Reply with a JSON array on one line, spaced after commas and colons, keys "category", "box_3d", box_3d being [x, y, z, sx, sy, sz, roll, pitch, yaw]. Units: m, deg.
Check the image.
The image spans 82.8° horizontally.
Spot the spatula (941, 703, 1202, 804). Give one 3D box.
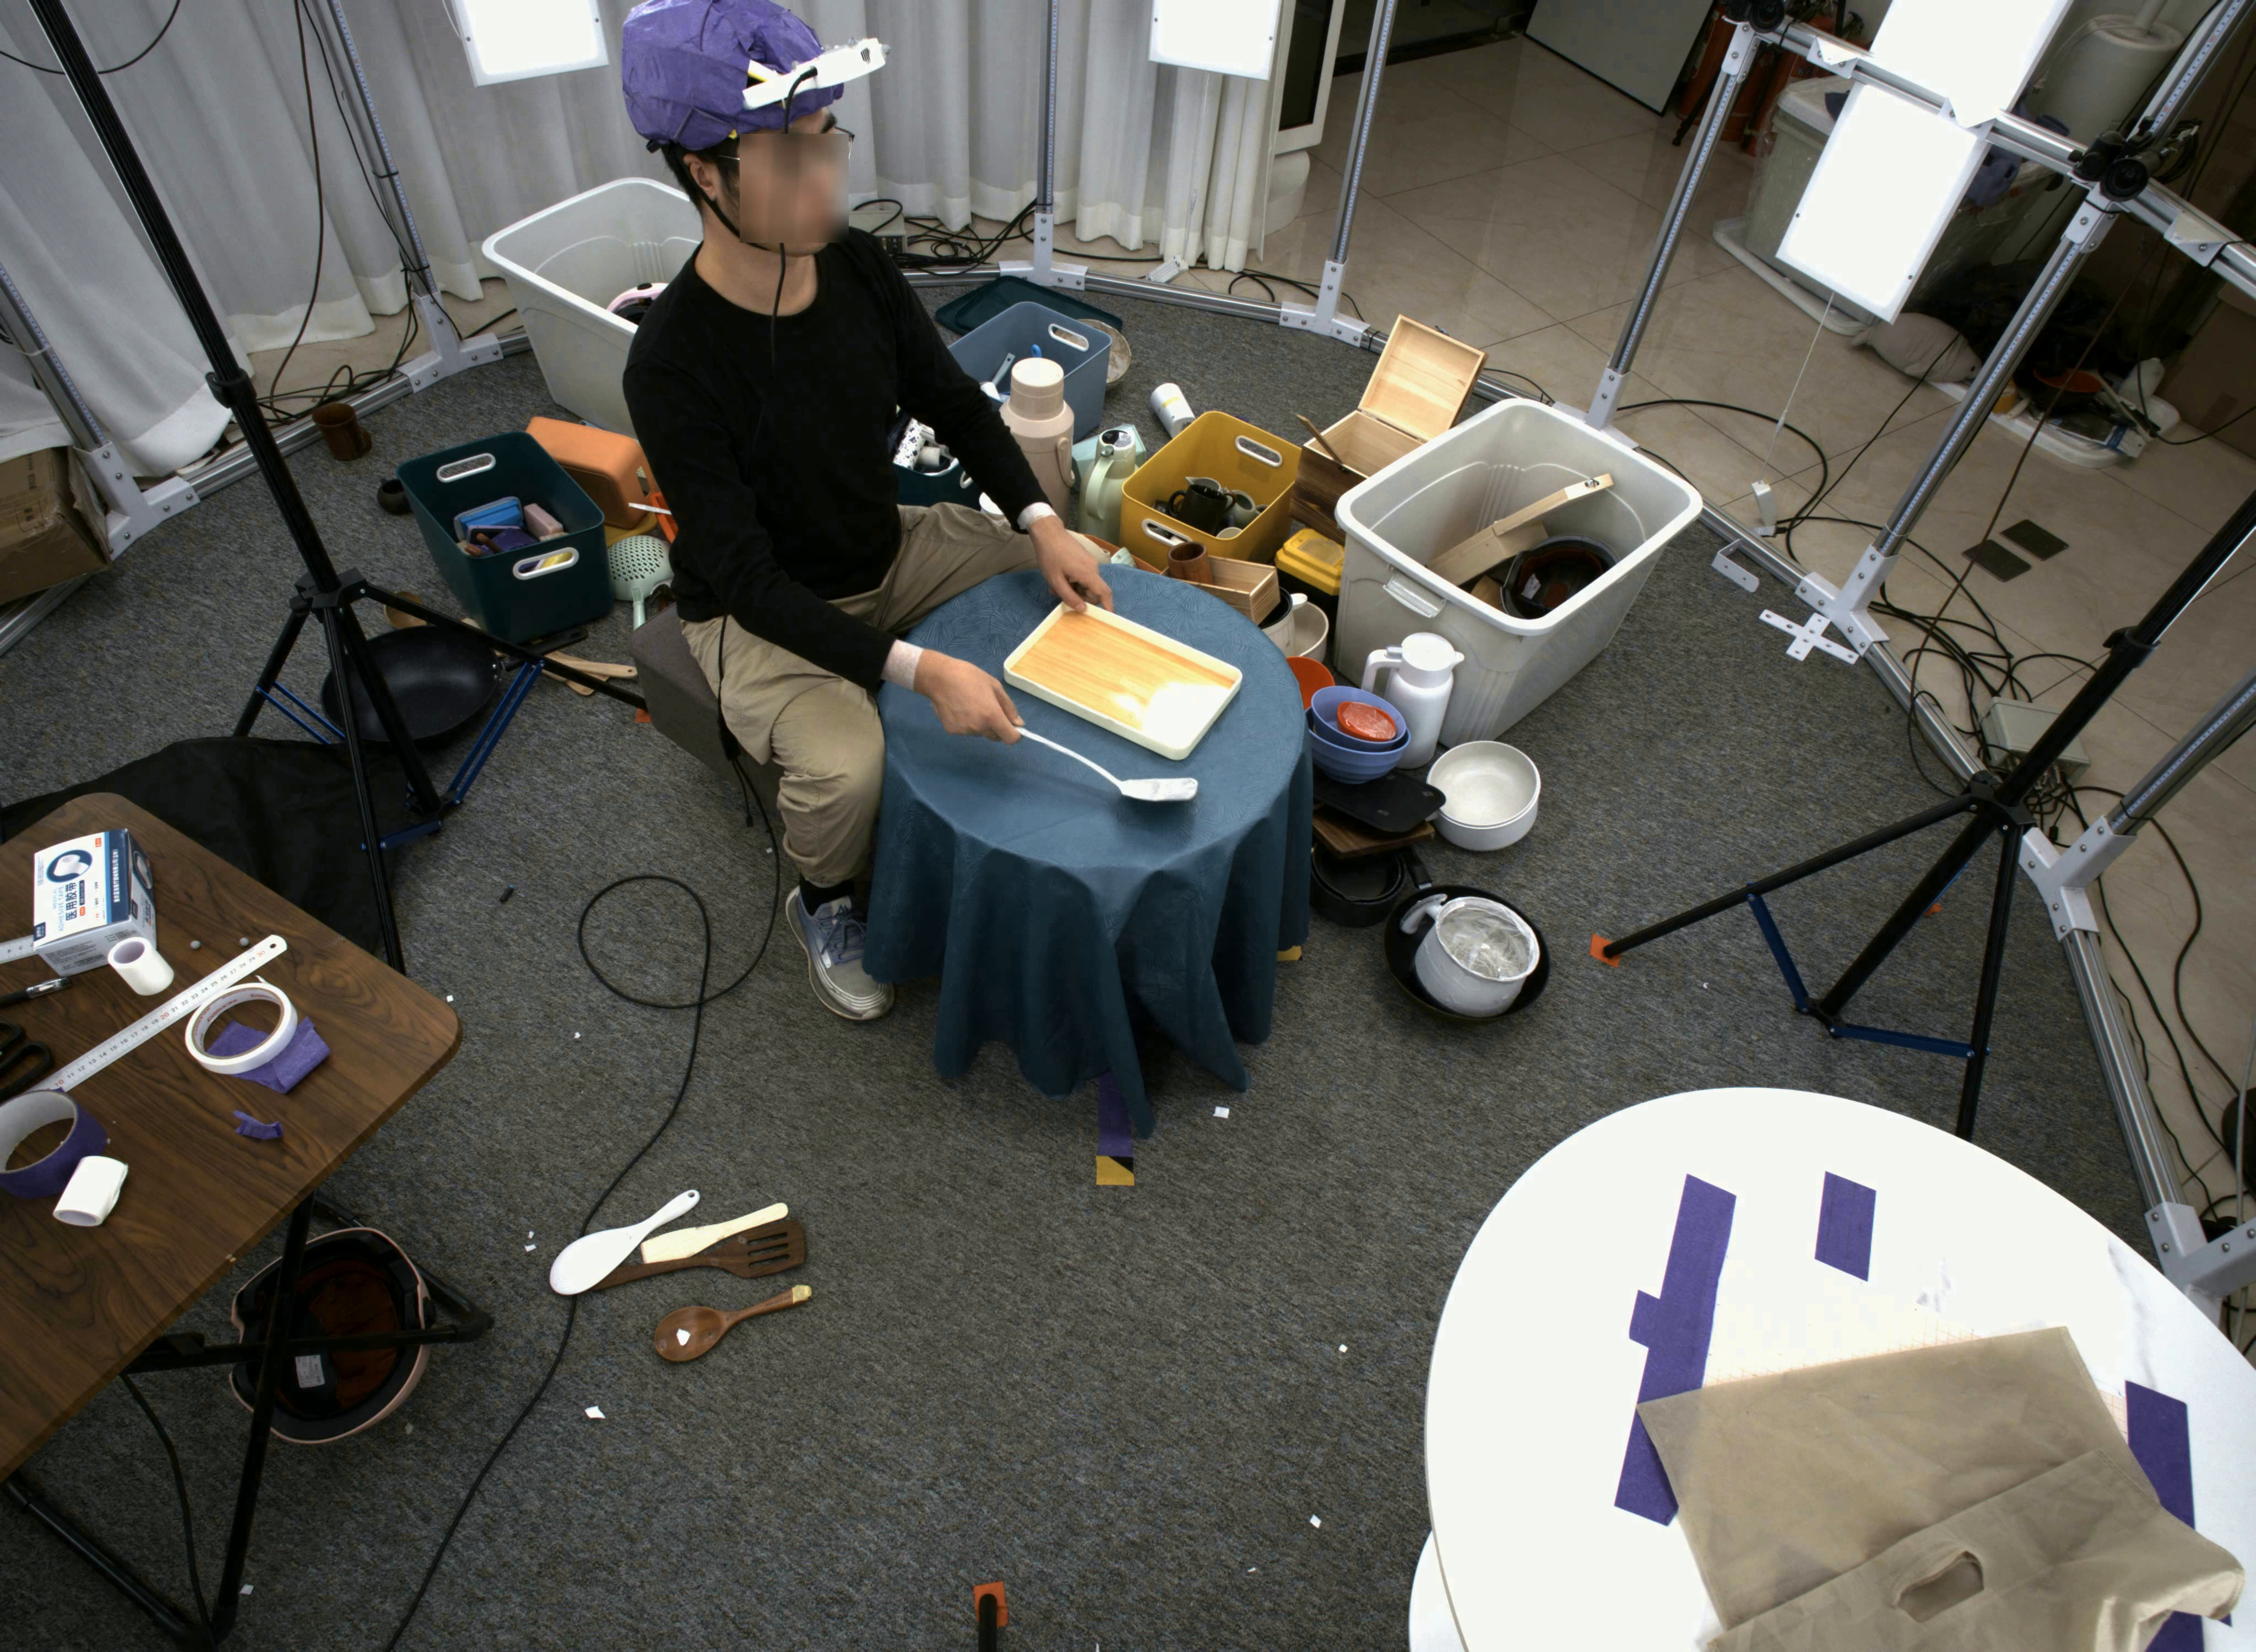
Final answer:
[{"category": "spatula", "box_3d": [-0.079, -0.101, 1.688, 0.365, 0.044, 0.100, 24, 25, 3]}]

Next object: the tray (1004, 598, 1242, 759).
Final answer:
[{"category": "tray", "box_3d": [-0.007, -0.216, 1.839, 0.303, 0.027, 0.194, 26, 53, 18]}]
